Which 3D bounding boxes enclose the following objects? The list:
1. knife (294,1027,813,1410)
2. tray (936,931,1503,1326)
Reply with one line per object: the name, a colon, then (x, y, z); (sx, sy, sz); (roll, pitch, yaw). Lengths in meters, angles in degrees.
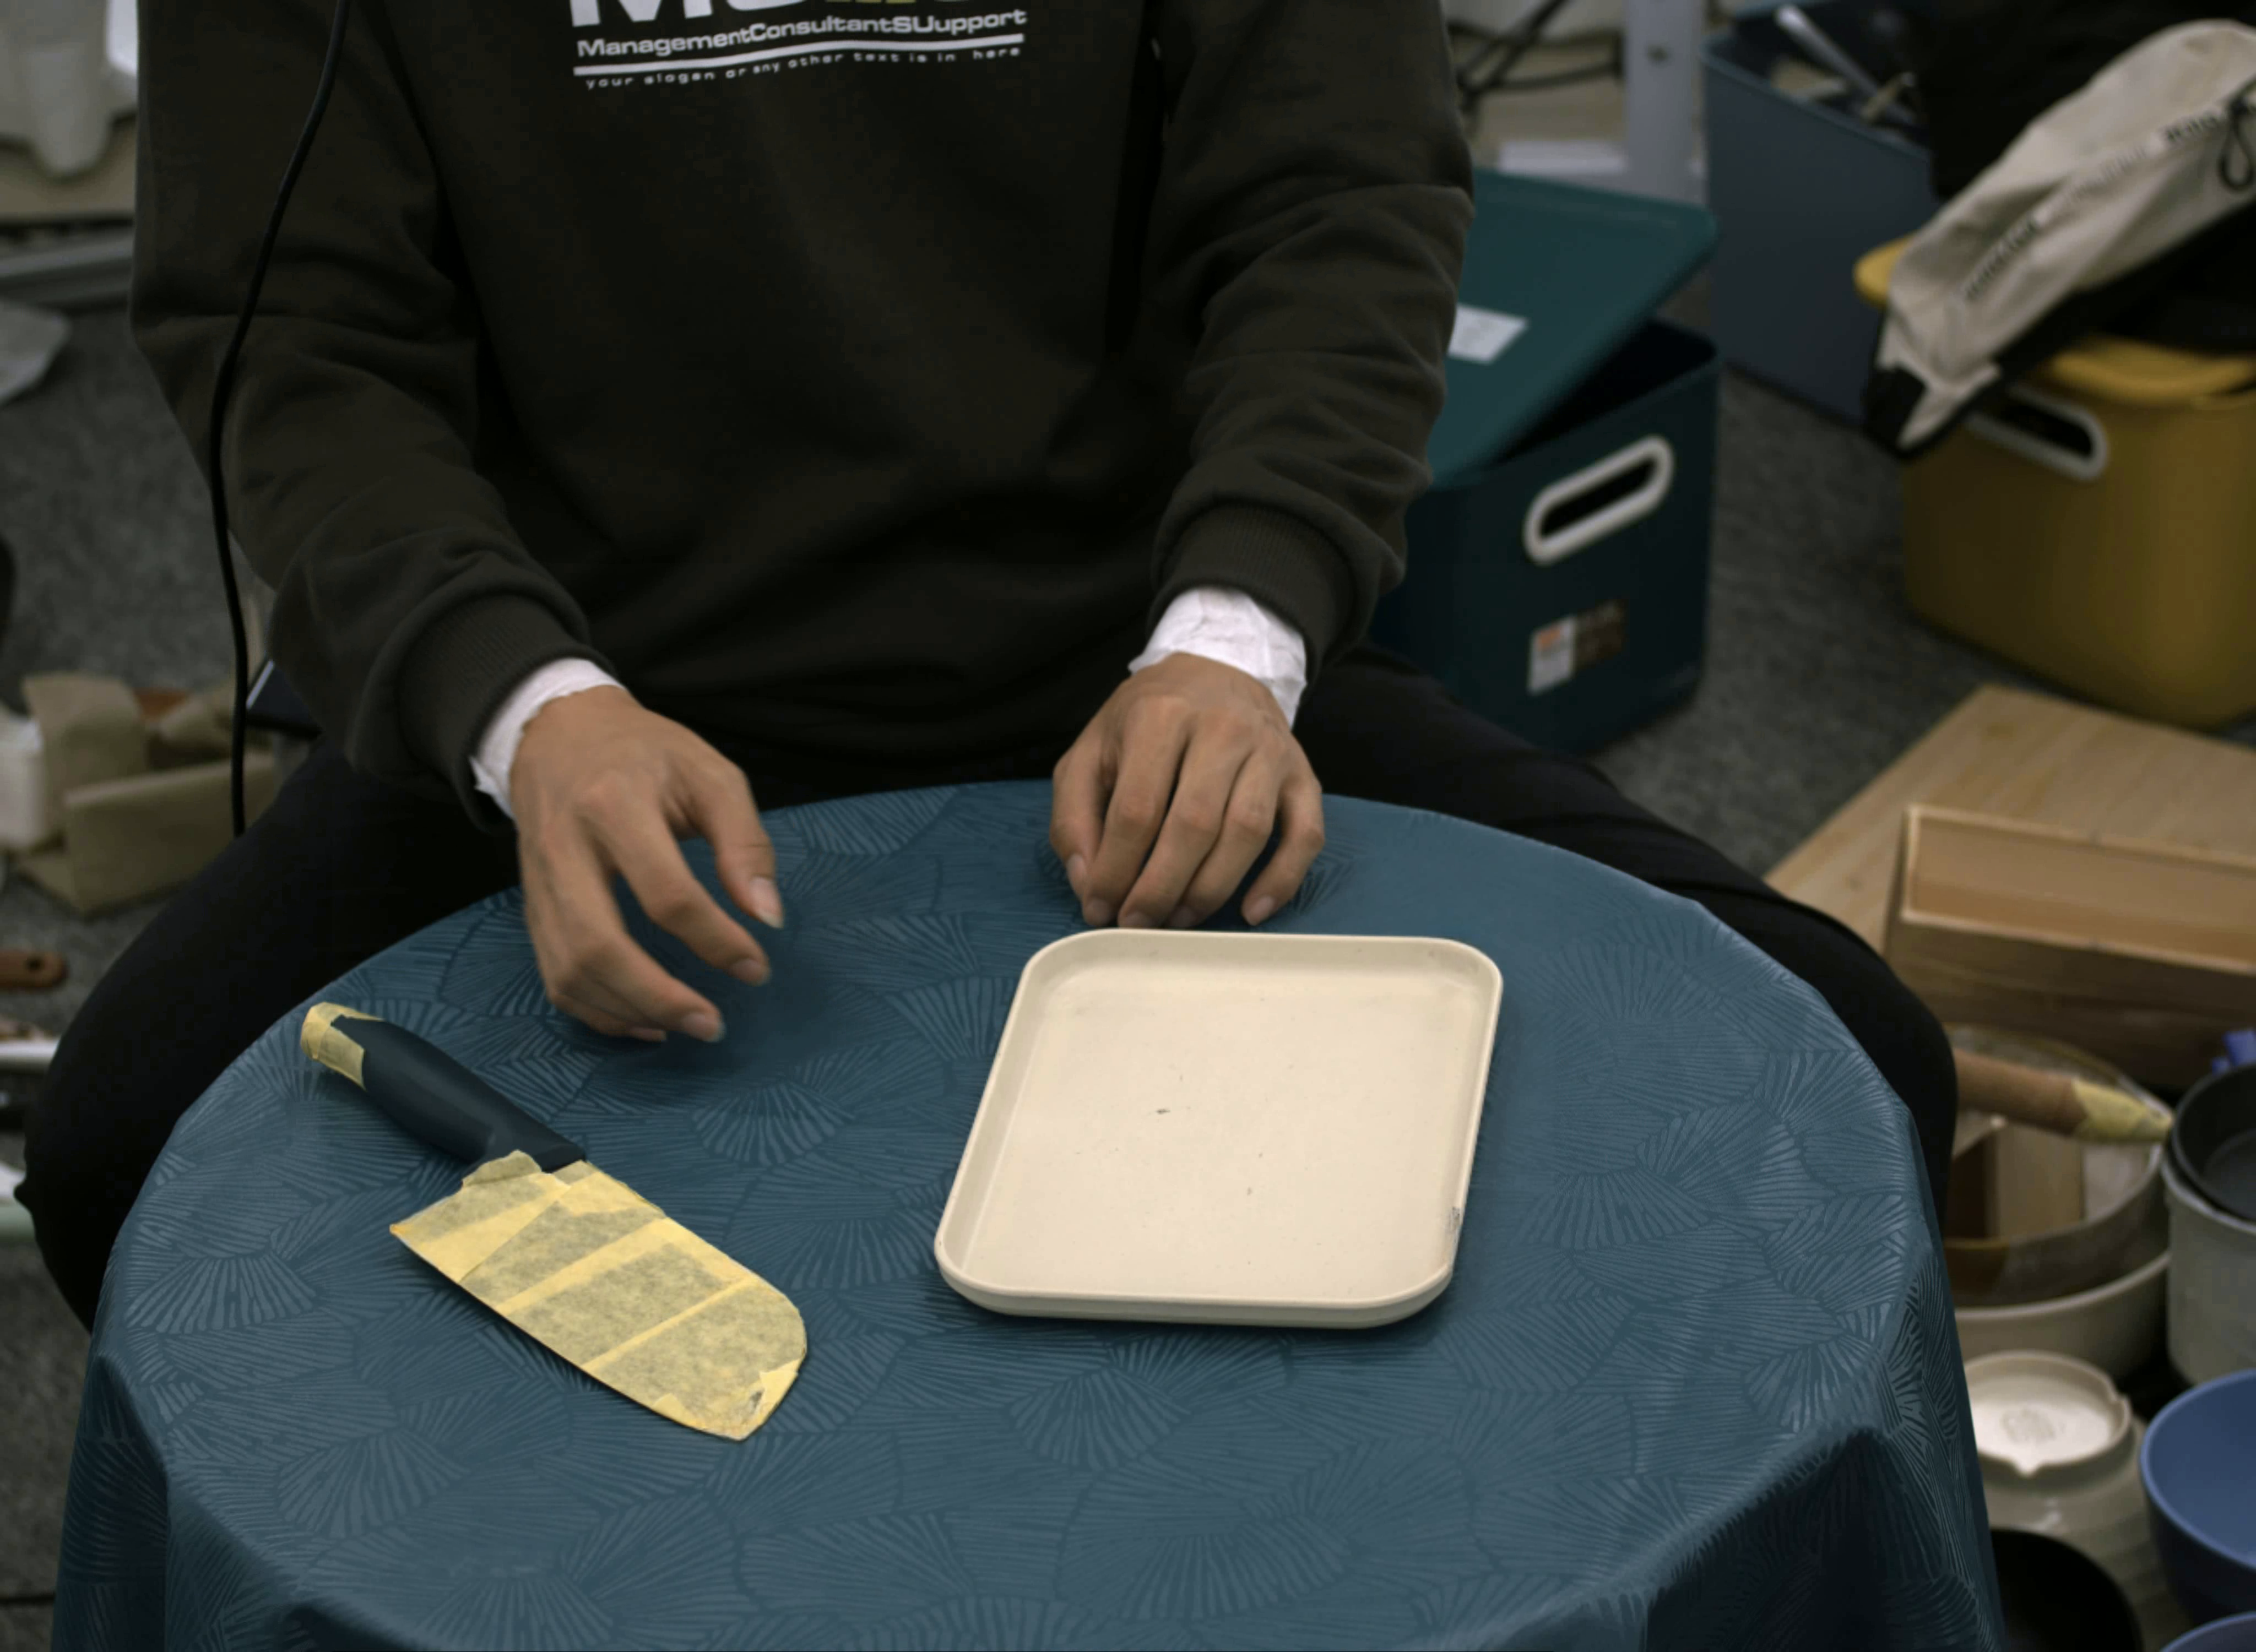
knife: (-0.200, 0.130, 1.847); (0.082, 0.027, 0.290); (-21, 33, -34)
tray: (0.034, 0.100, 1.880); (0.170, 0.017, 0.243); (1, 27, 9)
